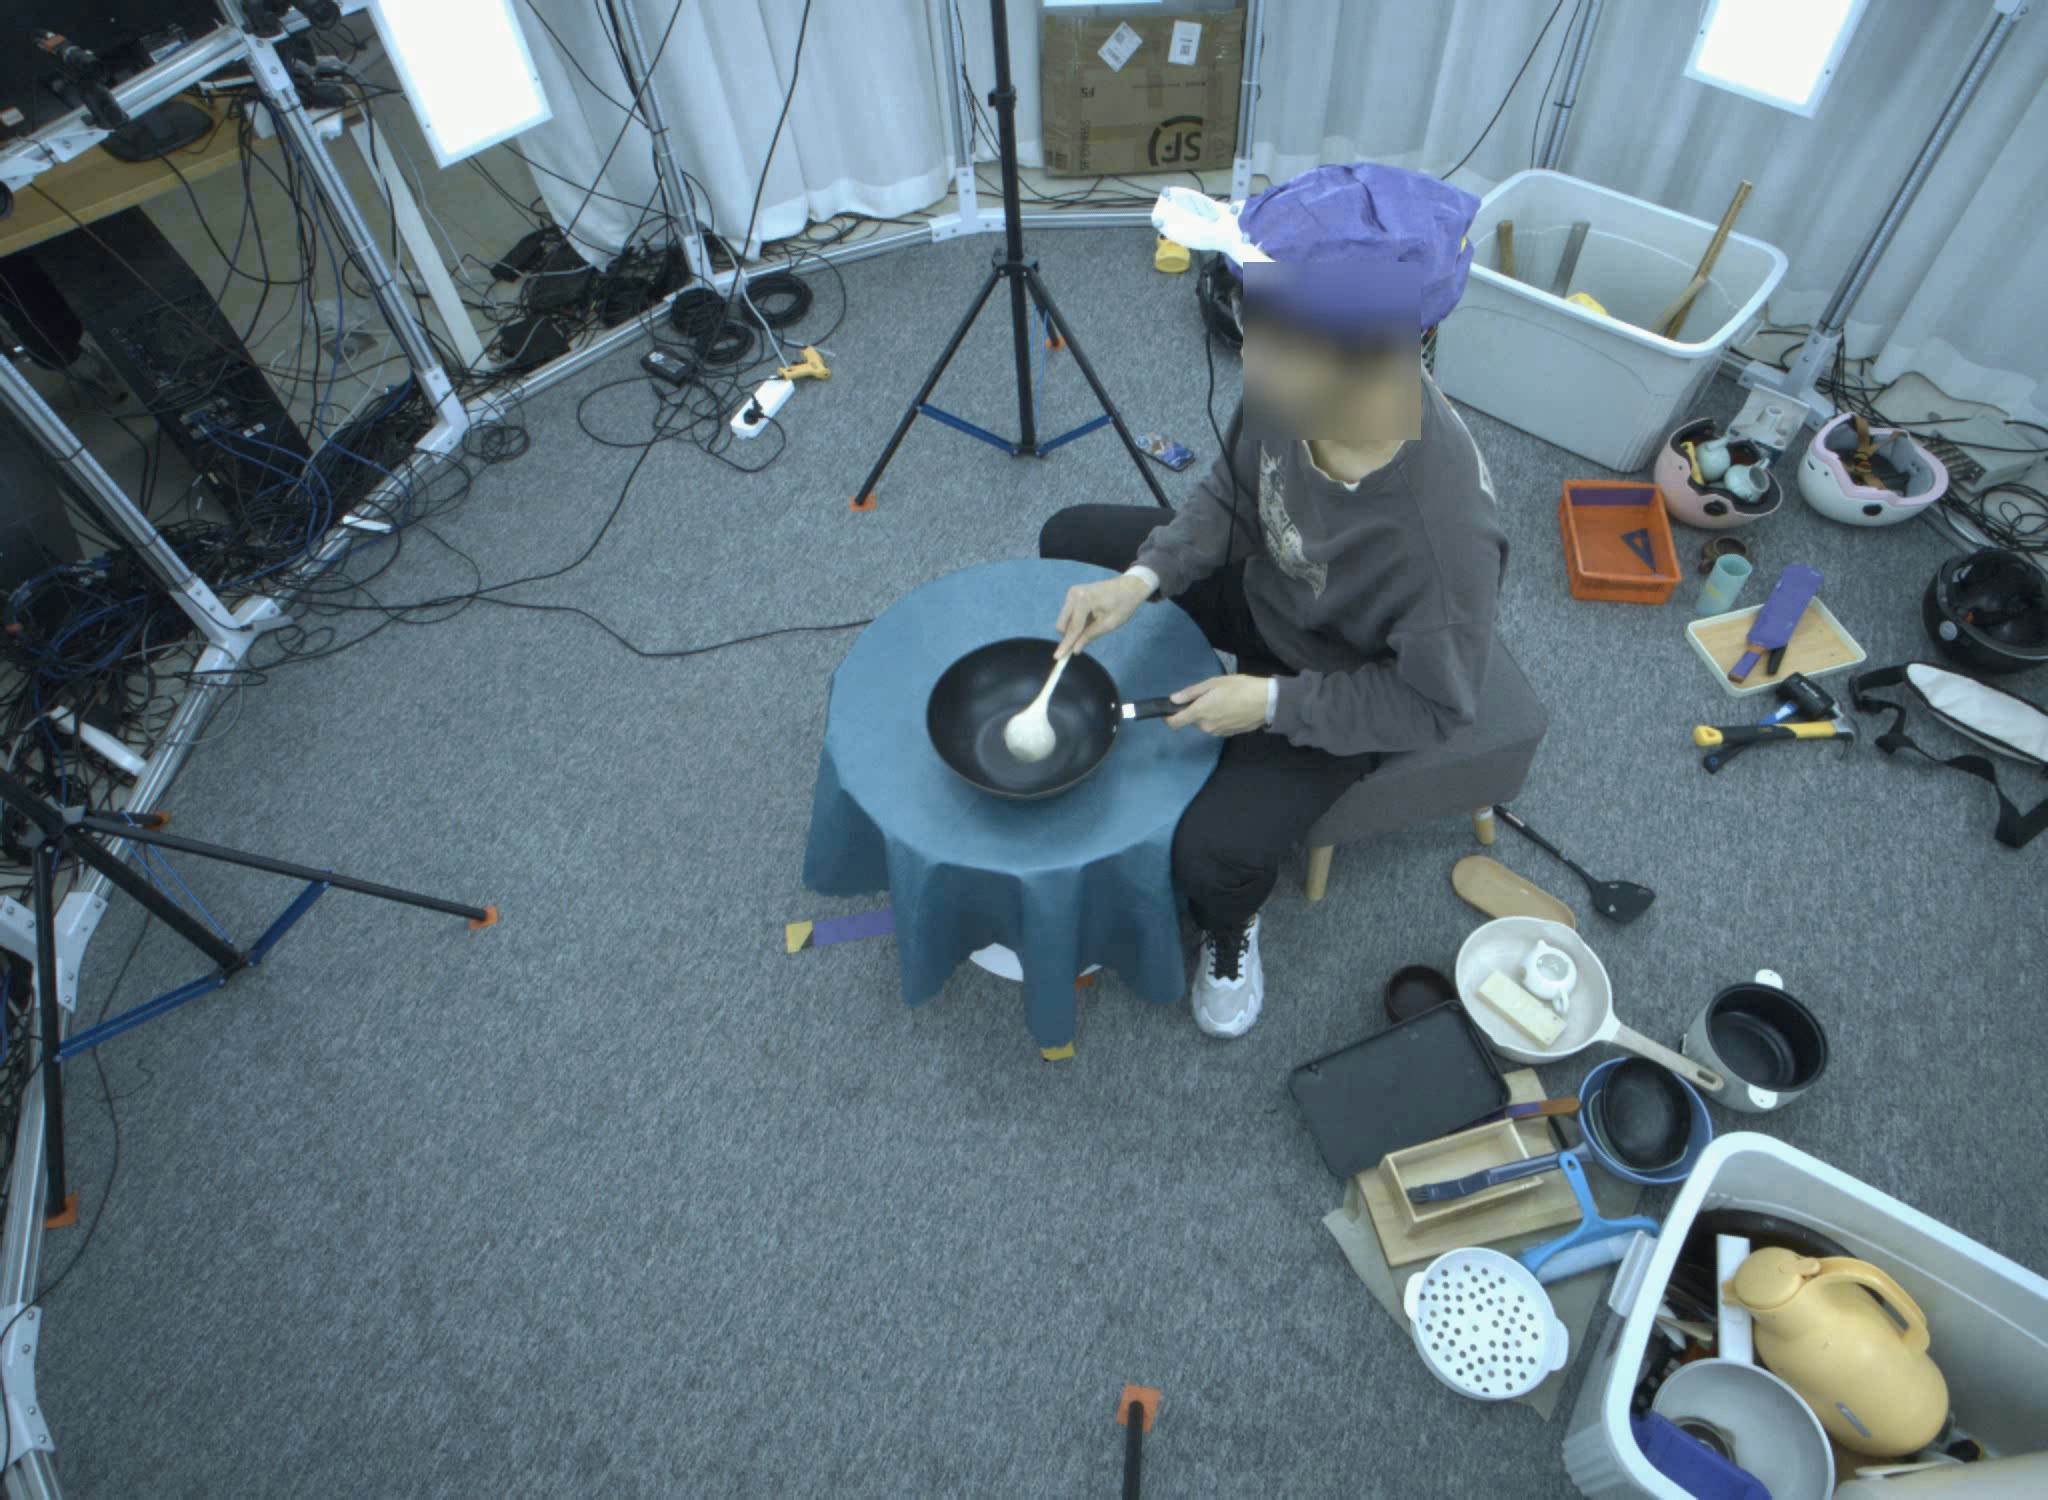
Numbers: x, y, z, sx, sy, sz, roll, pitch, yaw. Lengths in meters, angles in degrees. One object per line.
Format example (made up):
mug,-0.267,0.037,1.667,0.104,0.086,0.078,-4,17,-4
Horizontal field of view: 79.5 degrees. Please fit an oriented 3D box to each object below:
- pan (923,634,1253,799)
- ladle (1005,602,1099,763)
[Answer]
pan,0.091,-0.038,1.758,0.464,0.088,0.285,-2,54,-2
ladle,0.050,-0.093,1.737,0.071,0.073,0.254,22,63,13
